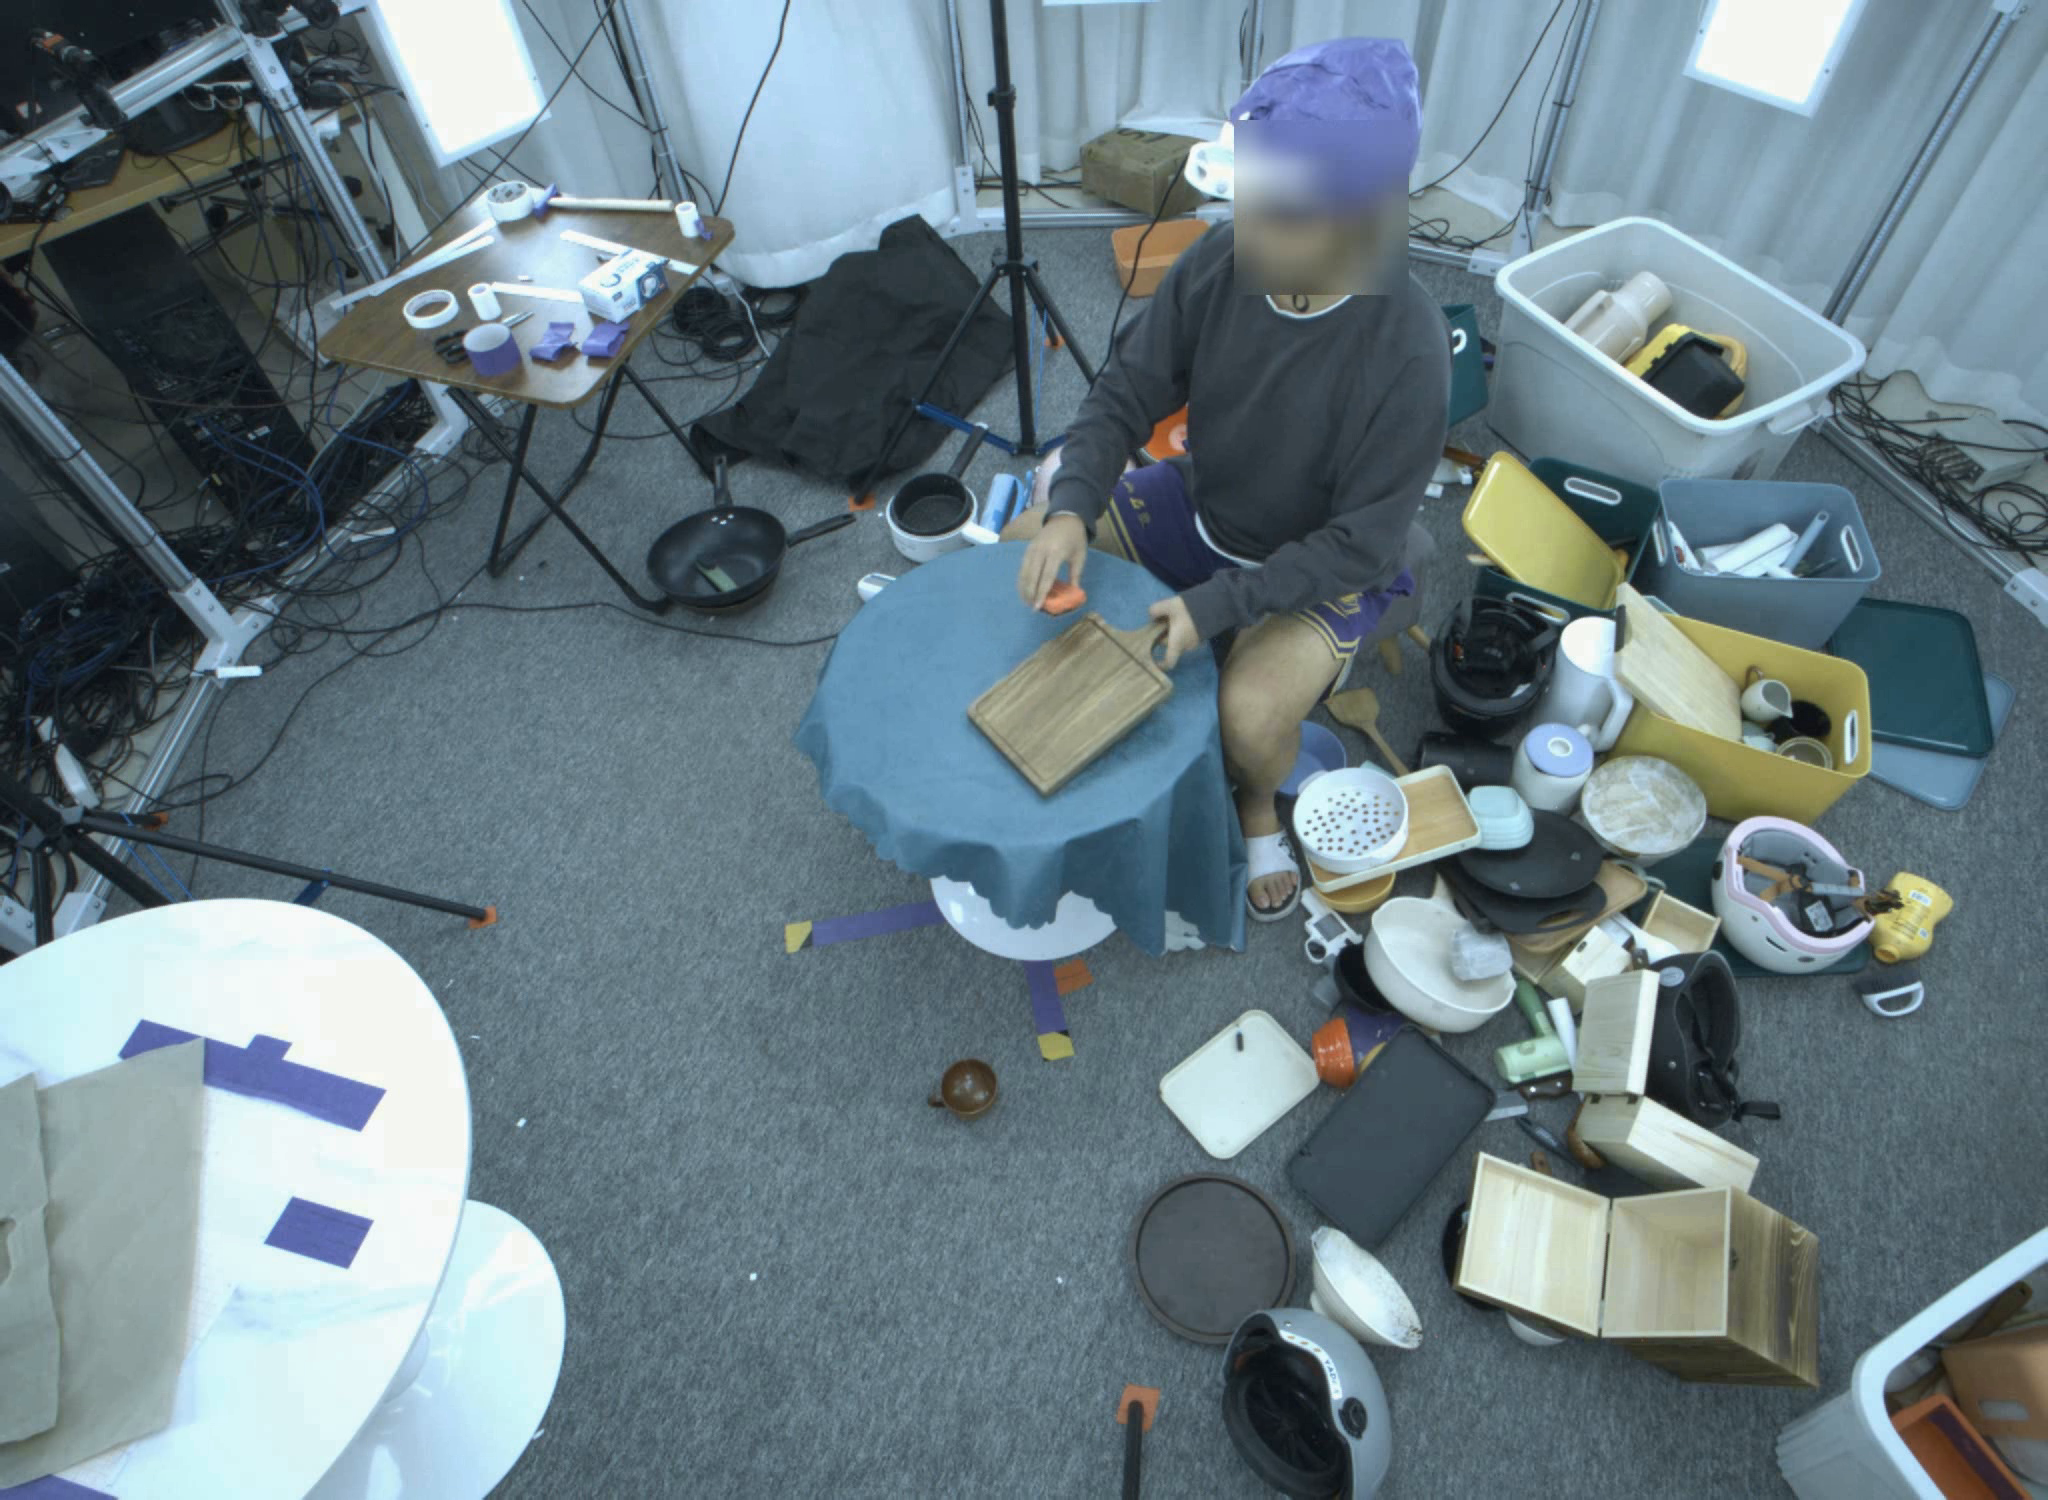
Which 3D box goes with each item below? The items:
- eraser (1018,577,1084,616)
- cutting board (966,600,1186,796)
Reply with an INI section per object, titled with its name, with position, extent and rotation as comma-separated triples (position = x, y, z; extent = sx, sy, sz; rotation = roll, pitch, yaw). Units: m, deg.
[eraser]
position = 0.039, -0.229, 1.826
extent = 0.059, 0.023, 0.105
rotation = -25, 30, -20
[cutting board]
position = 0.103, -0.104, 1.807
extent = 0.353, 0.023, 0.197
rotation = -39, 61, -10
